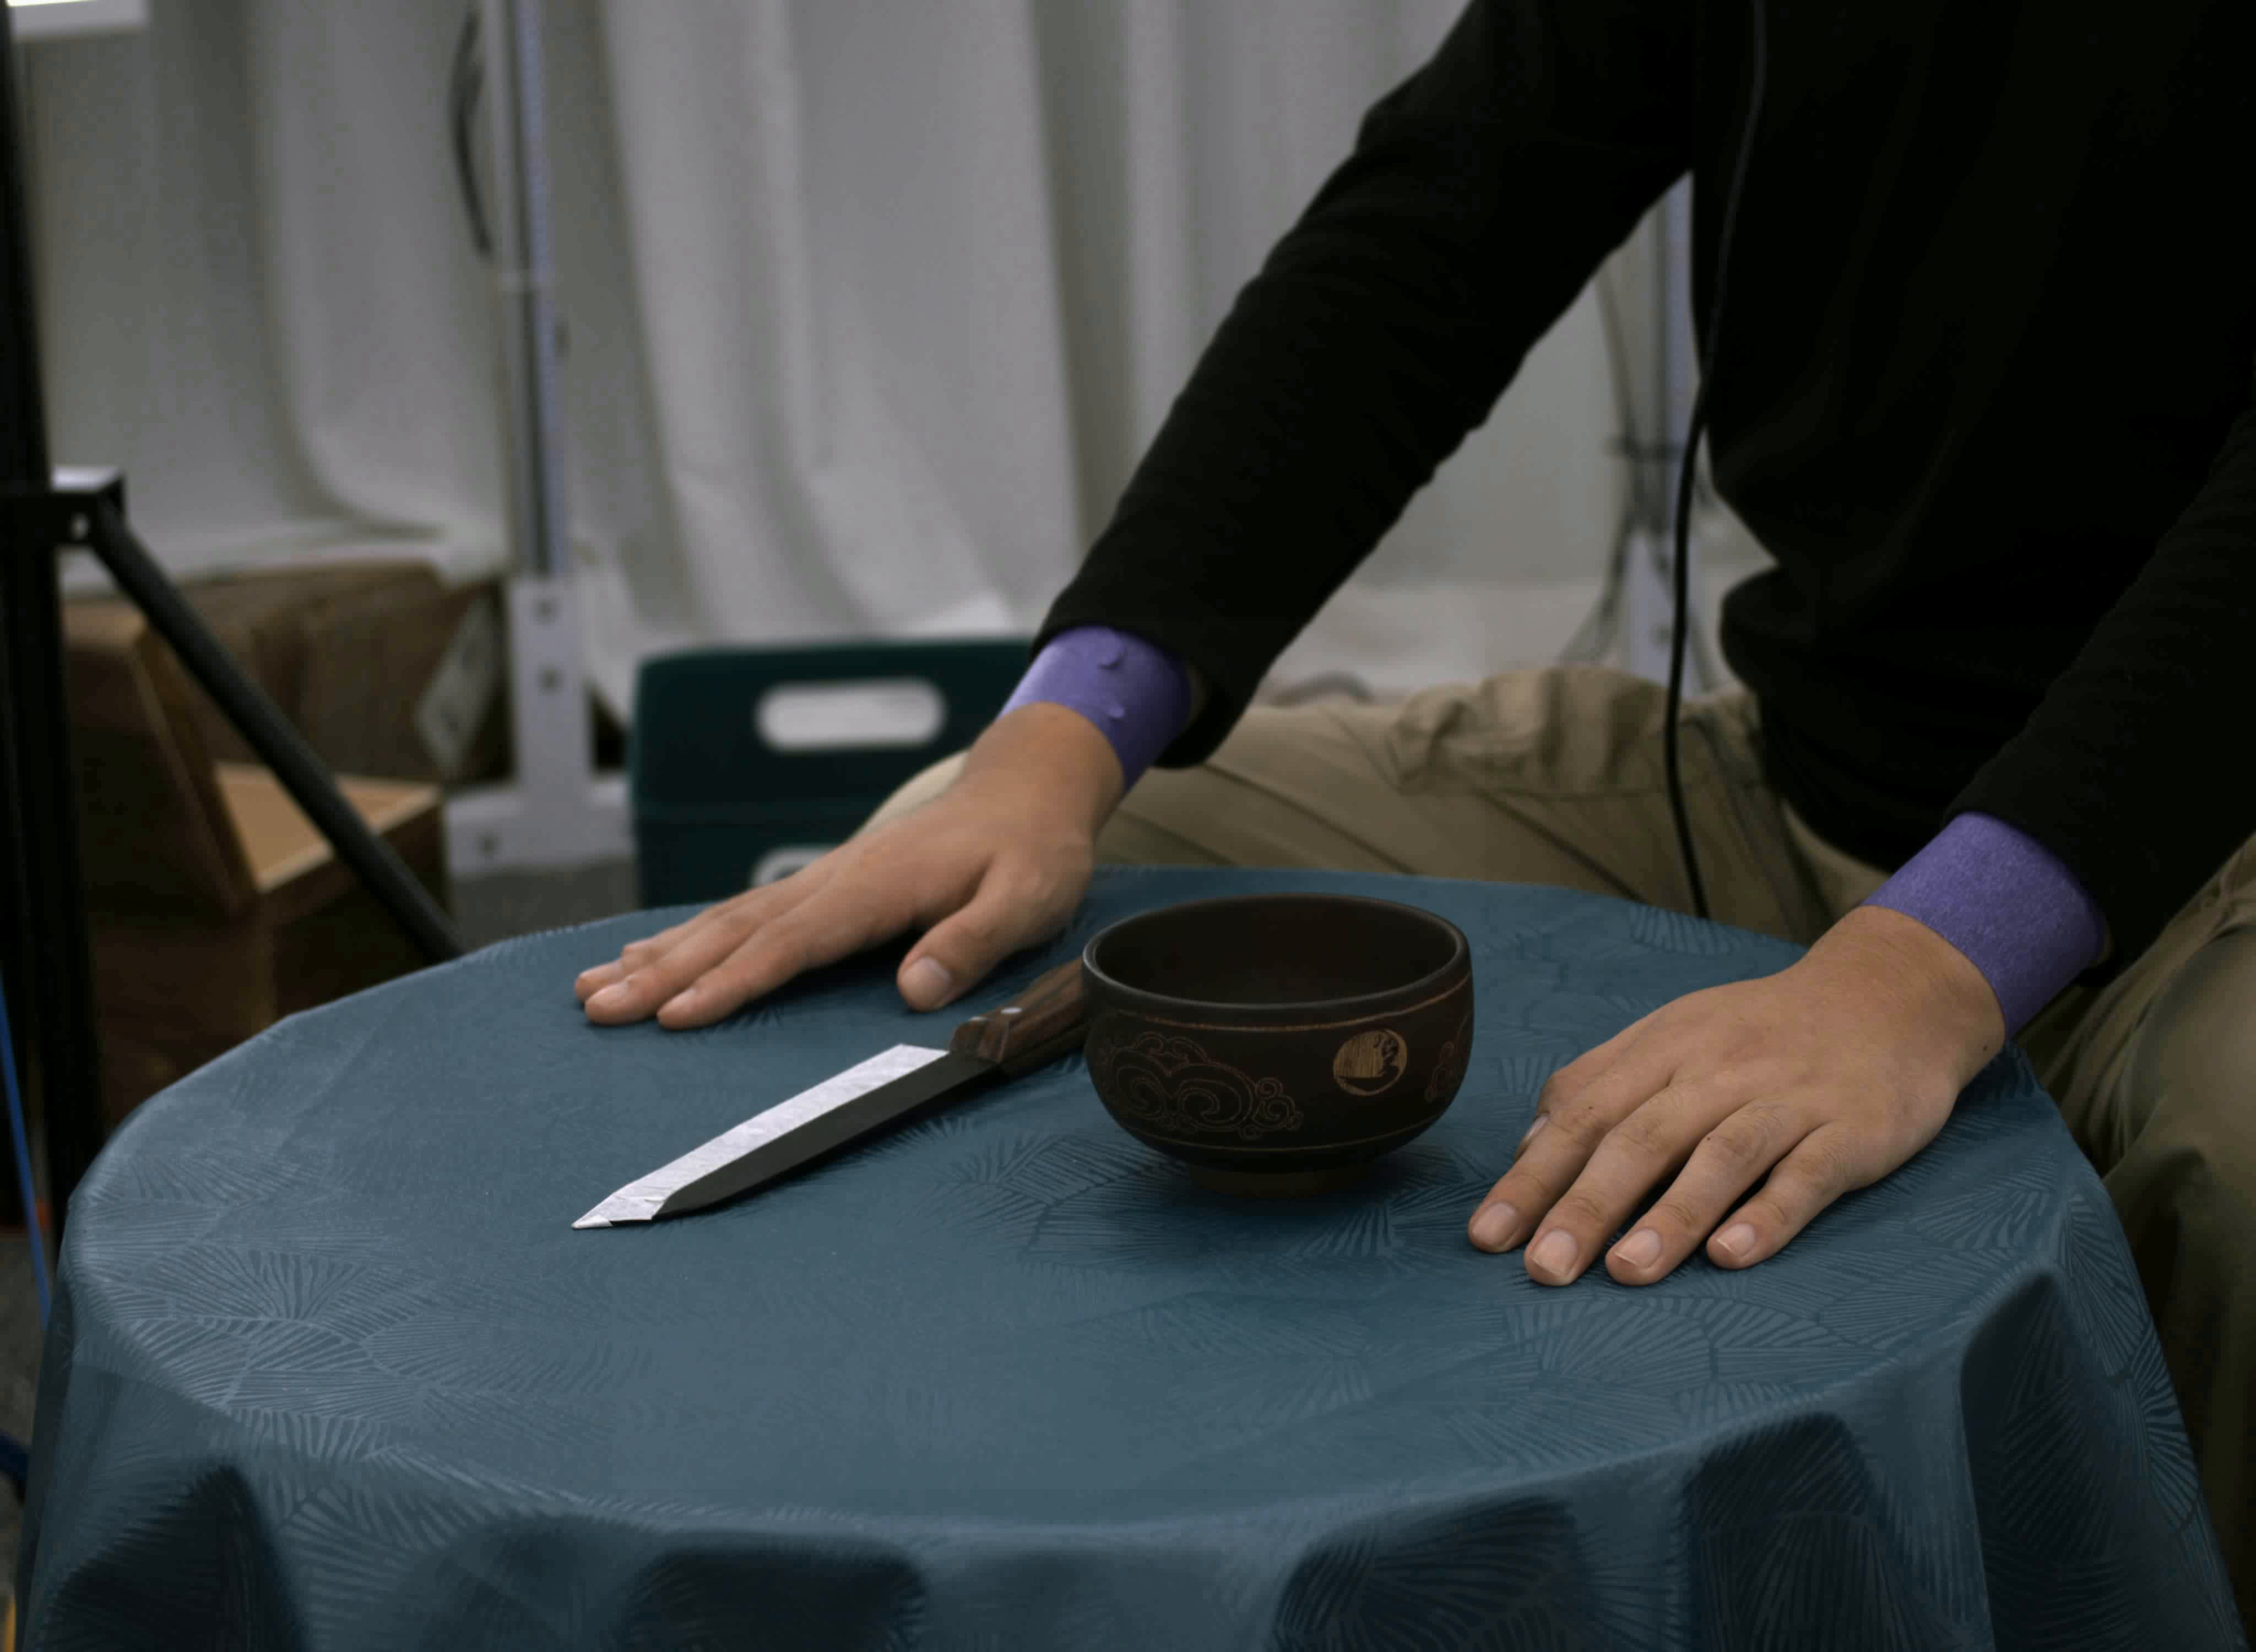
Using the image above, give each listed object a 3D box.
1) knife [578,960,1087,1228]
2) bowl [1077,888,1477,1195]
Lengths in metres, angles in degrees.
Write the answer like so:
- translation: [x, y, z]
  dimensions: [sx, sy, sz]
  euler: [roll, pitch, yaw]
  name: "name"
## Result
- translation: [-0.066, 0.078, 1.645]
  dimensions: [0.051, 0.020, 0.283]
  euler: [5, 19, 41]
  name: "knife"
- translation: [0.044, 0.067, 1.560]
  dimensions: [0.117, 0.070, 0.118]
  euler: [-2, 15, -1]
  name: "bowl"
